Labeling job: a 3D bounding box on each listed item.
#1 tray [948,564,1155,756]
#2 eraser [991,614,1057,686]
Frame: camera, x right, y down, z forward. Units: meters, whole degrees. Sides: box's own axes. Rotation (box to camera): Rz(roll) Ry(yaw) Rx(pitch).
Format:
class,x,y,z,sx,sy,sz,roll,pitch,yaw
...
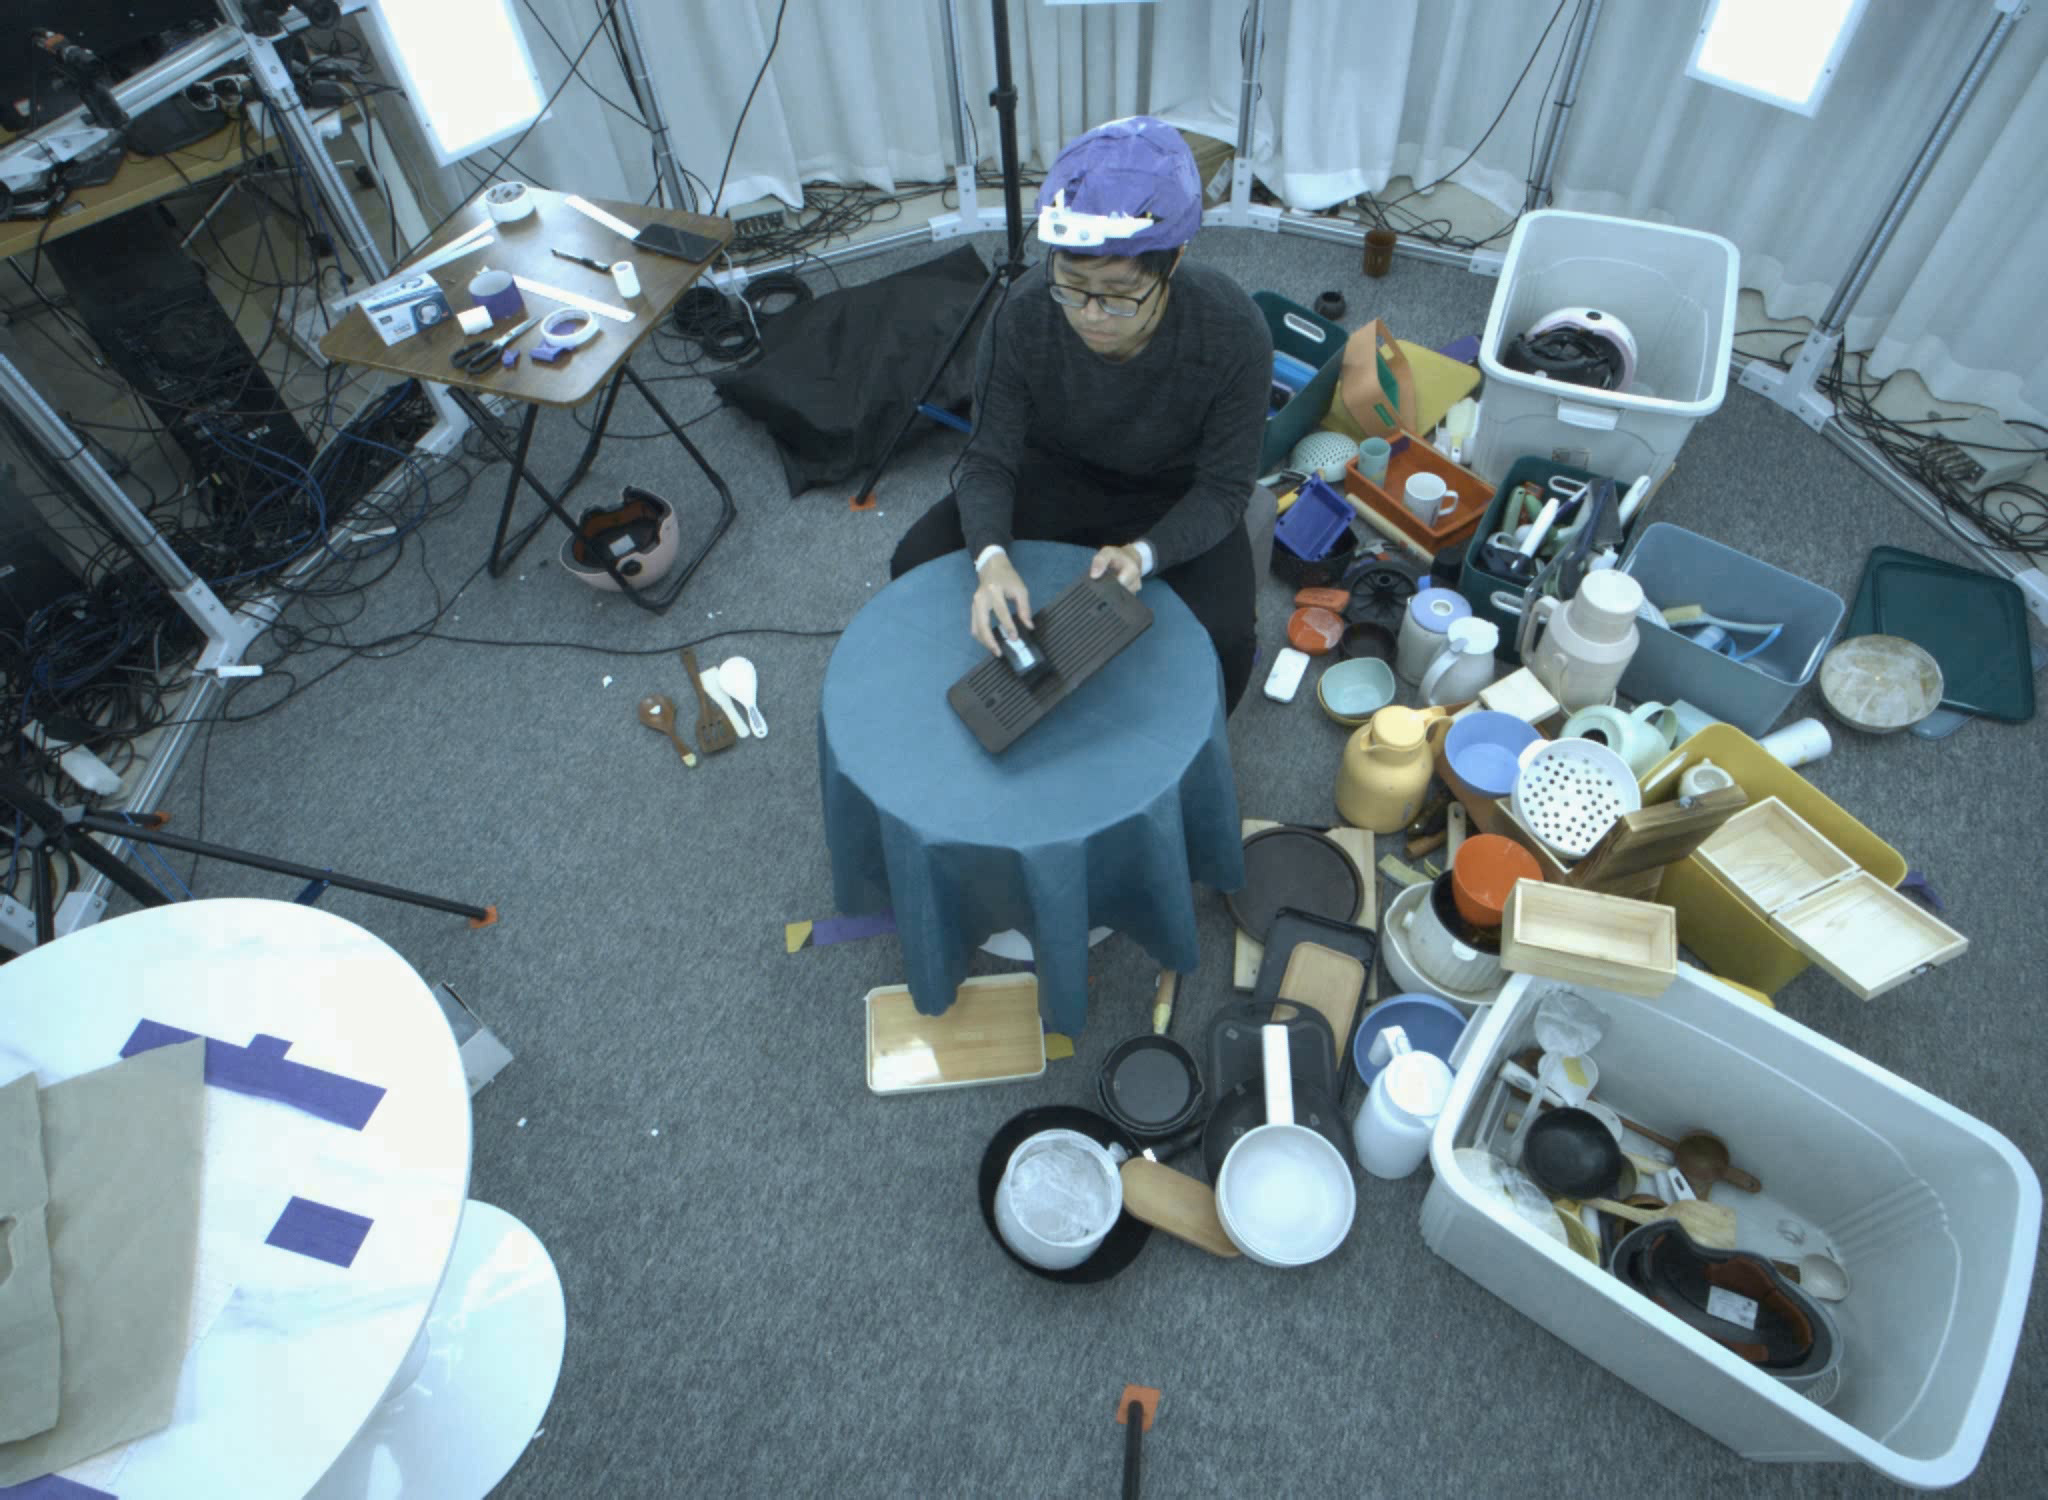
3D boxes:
class,x,y,z,sx,sy,sz,roll,pitch,yaw
tray,0.038,-0.132,1.792,0.306,0.019,0.166,-41,49,0
eraser,-0.001,-0.147,1.795,0.053,0.031,0.123,-35,47,1
